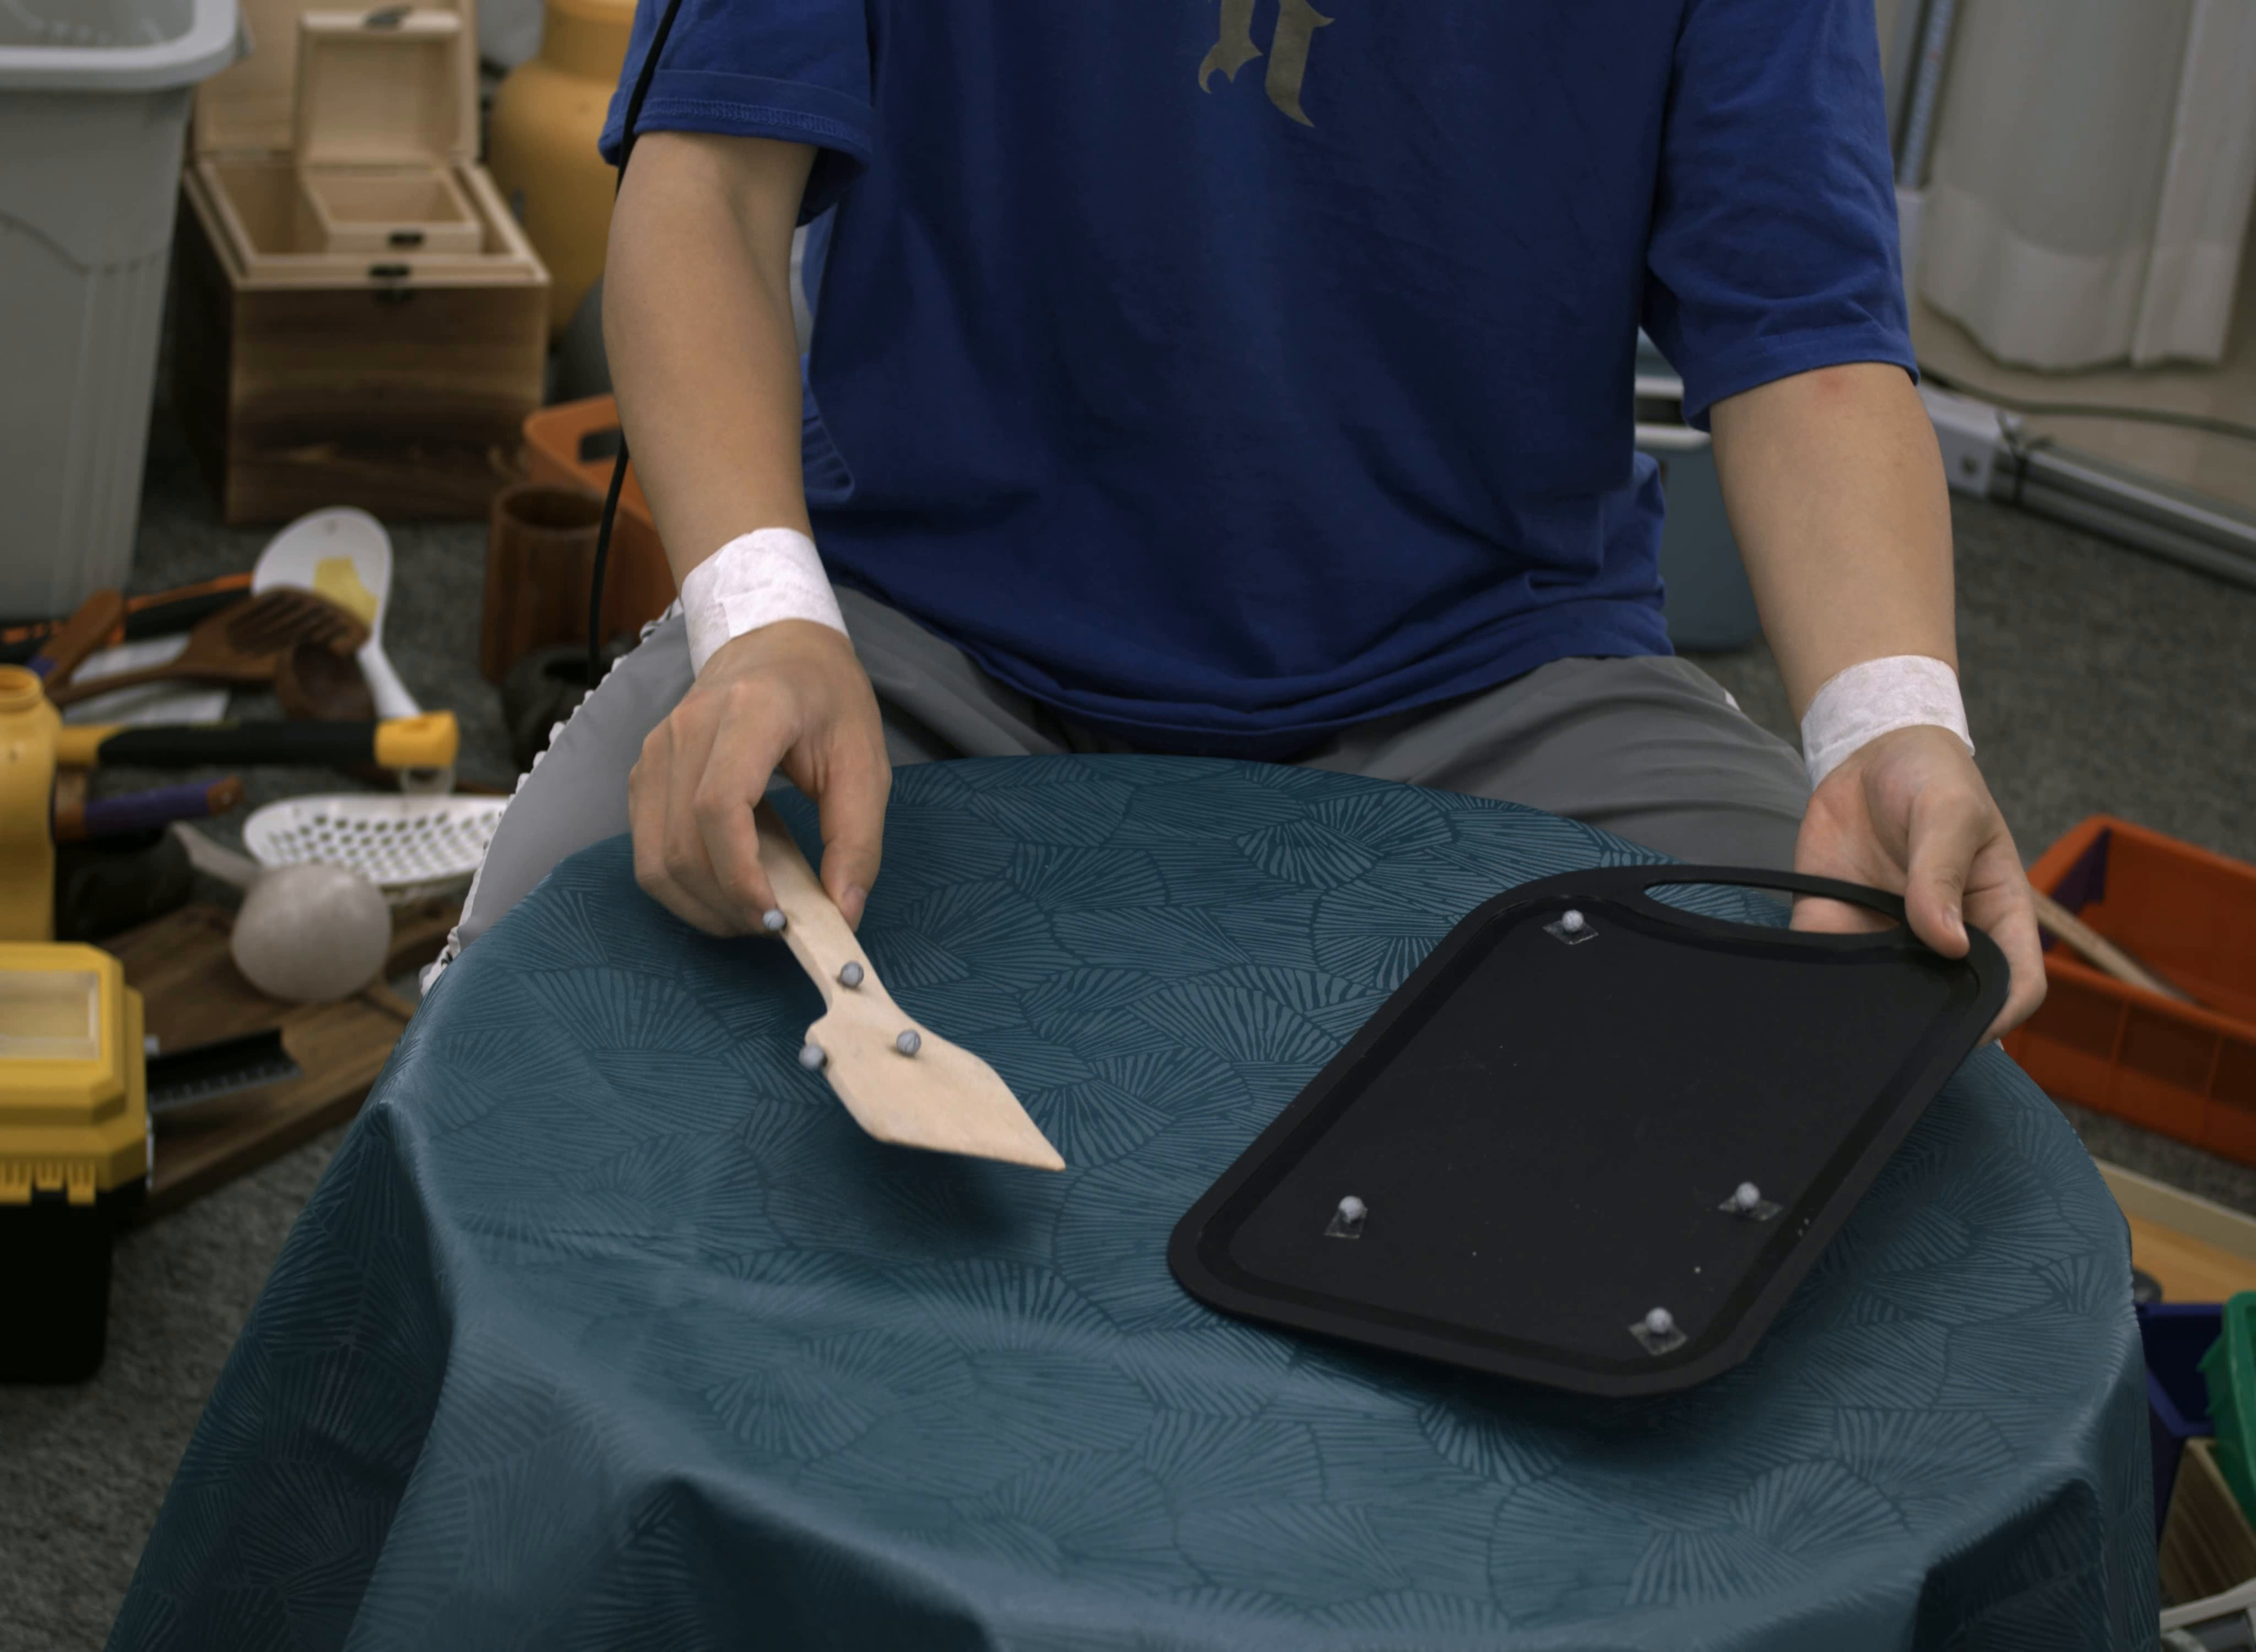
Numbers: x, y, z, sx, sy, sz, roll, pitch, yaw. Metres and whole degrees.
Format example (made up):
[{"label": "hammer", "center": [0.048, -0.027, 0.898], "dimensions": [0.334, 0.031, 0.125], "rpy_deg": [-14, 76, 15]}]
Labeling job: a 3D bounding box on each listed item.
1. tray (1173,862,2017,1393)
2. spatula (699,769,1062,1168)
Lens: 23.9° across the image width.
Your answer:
[{"label": "tray", "center": [0.166, 0.091, 1.823], "dimensions": [0.212, 0.010, 0.325], "rpy_deg": [10, 33, 29]}, {"label": "spatula", "center": [-0.101, 0.045, 1.863], "dimensions": [0.071, 0.010, 0.295], "rpy_deg": [11, 21, -27]}]
